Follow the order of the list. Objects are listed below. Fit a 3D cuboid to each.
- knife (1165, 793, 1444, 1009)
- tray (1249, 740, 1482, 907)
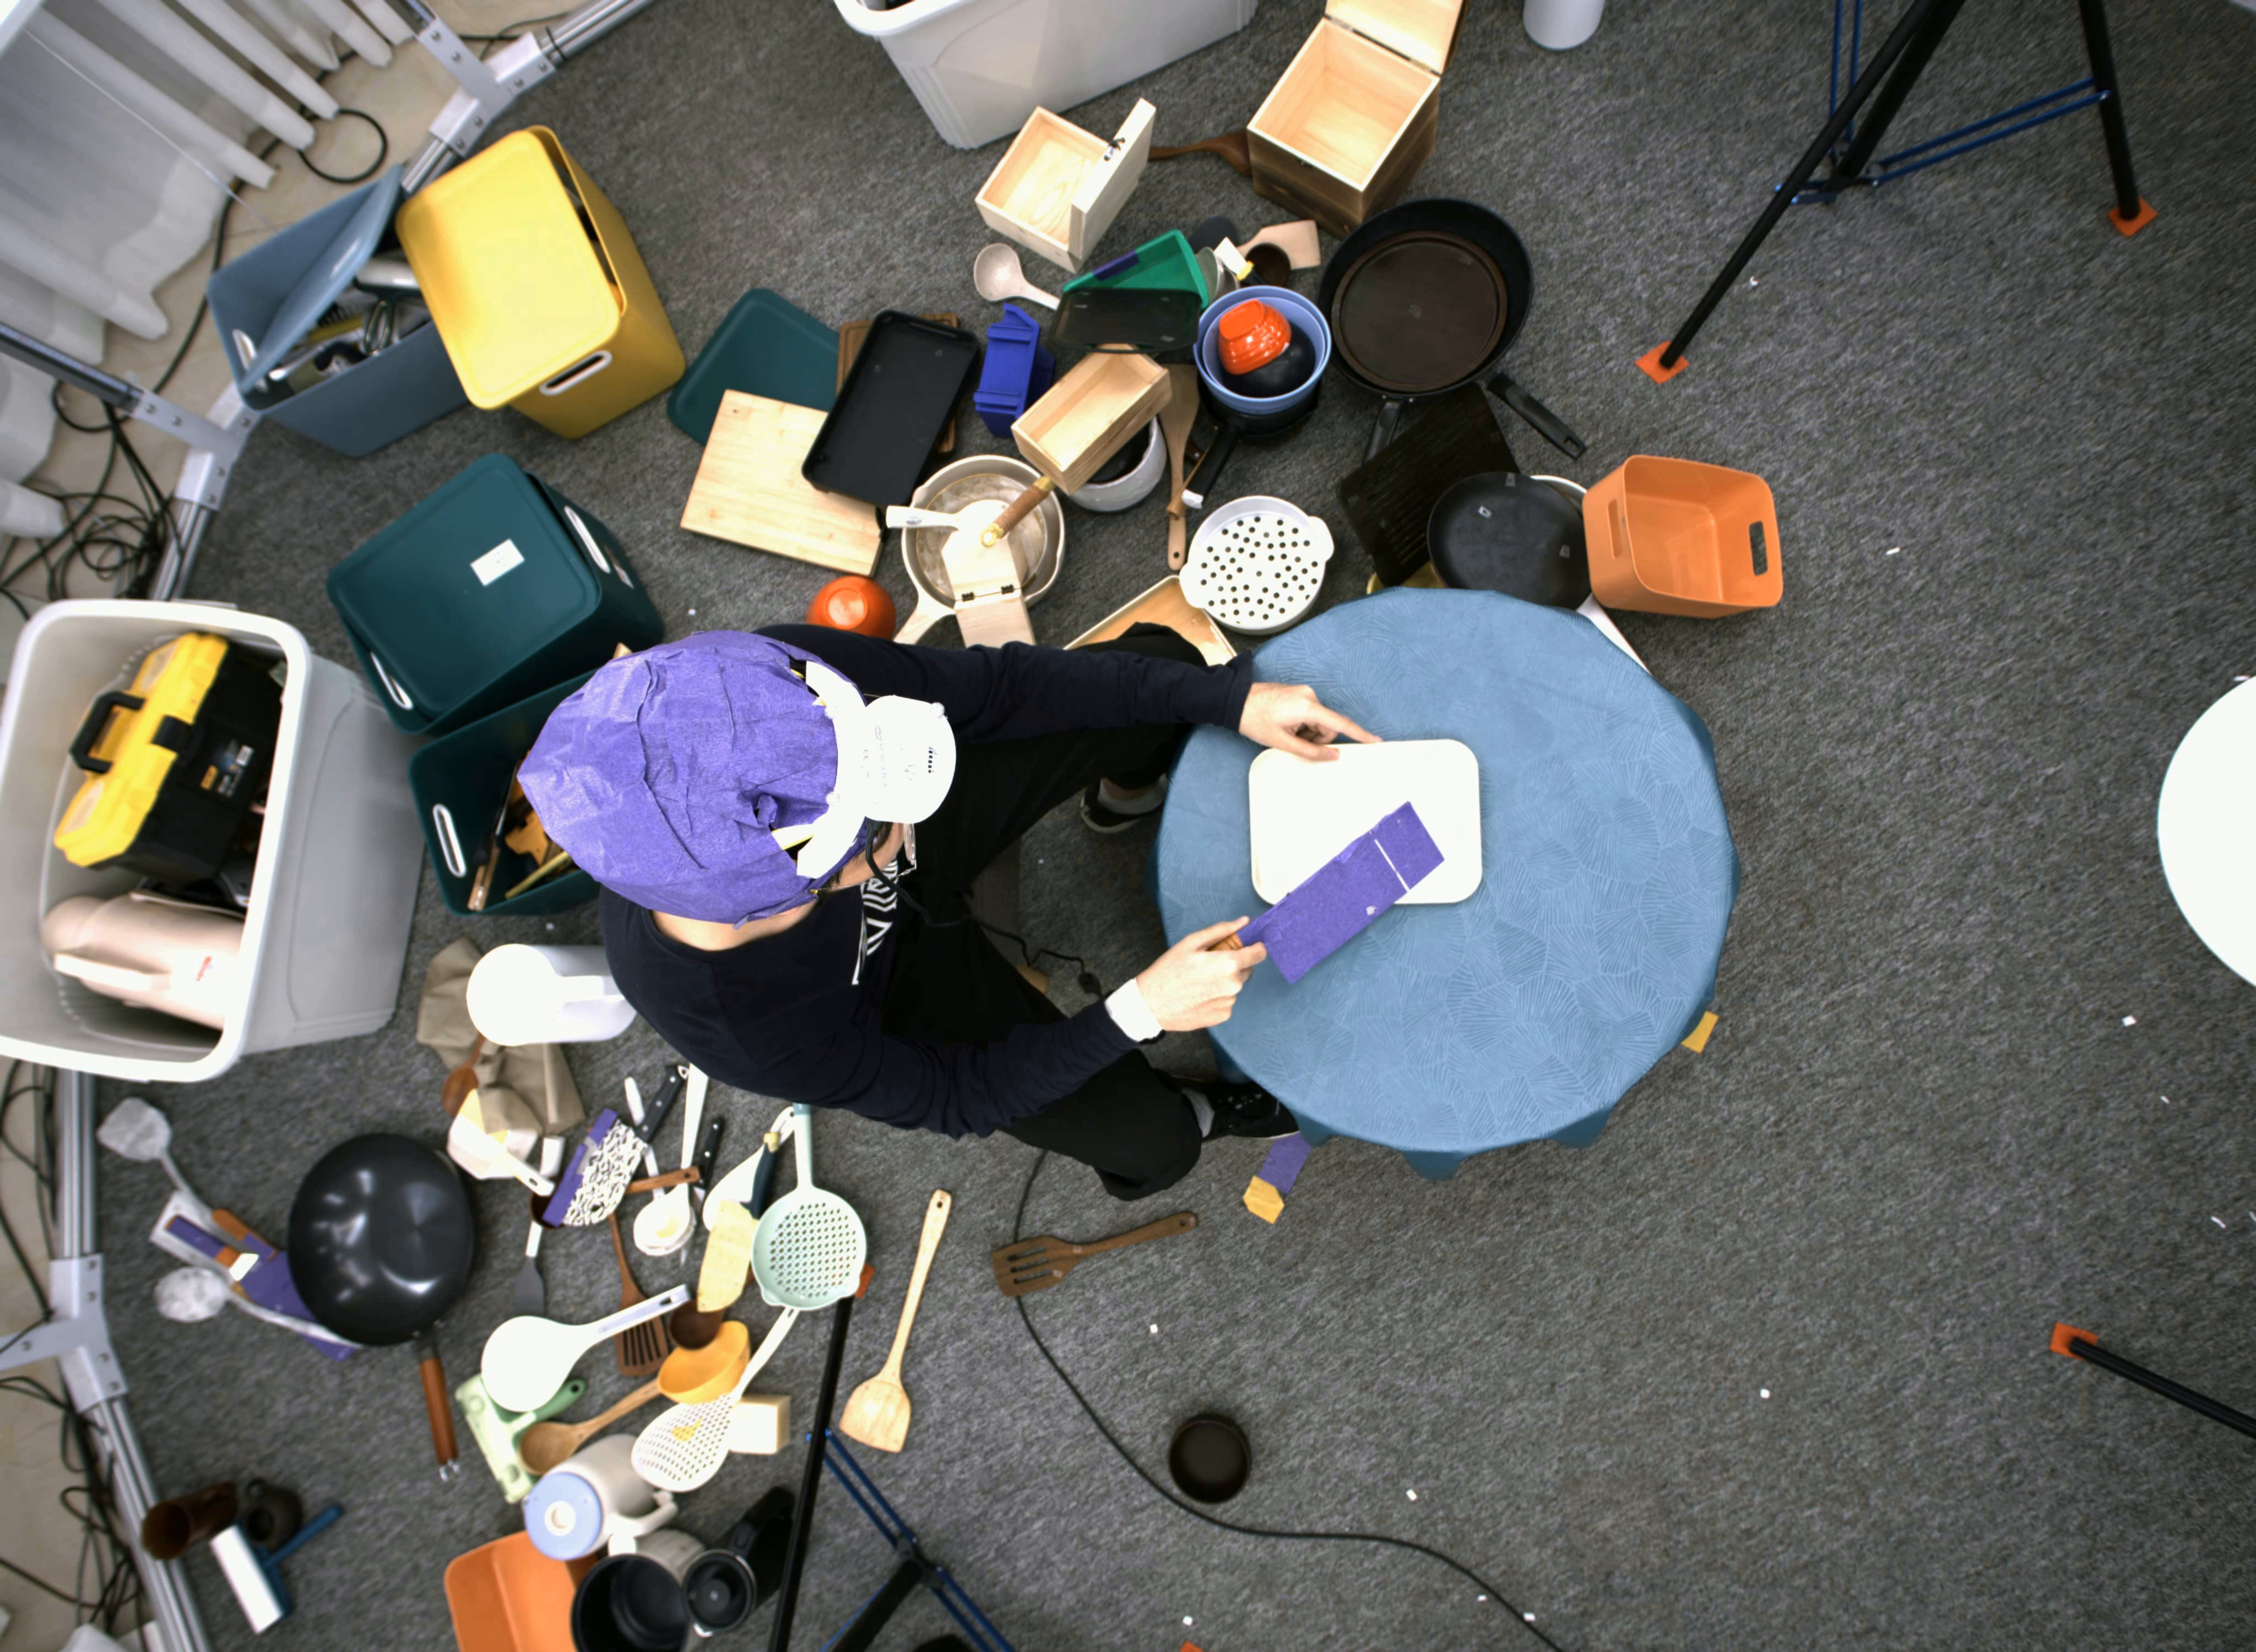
[{"bbox_3d":[0.184,0.096,1.387,0.315,0.032,0.105,-37,119,1],"label":"knife"},{"bbox_3d":[0.249,-0.003,1.454,0.240,0.017,0.171,-2,92,10],"label":"tray"}]
